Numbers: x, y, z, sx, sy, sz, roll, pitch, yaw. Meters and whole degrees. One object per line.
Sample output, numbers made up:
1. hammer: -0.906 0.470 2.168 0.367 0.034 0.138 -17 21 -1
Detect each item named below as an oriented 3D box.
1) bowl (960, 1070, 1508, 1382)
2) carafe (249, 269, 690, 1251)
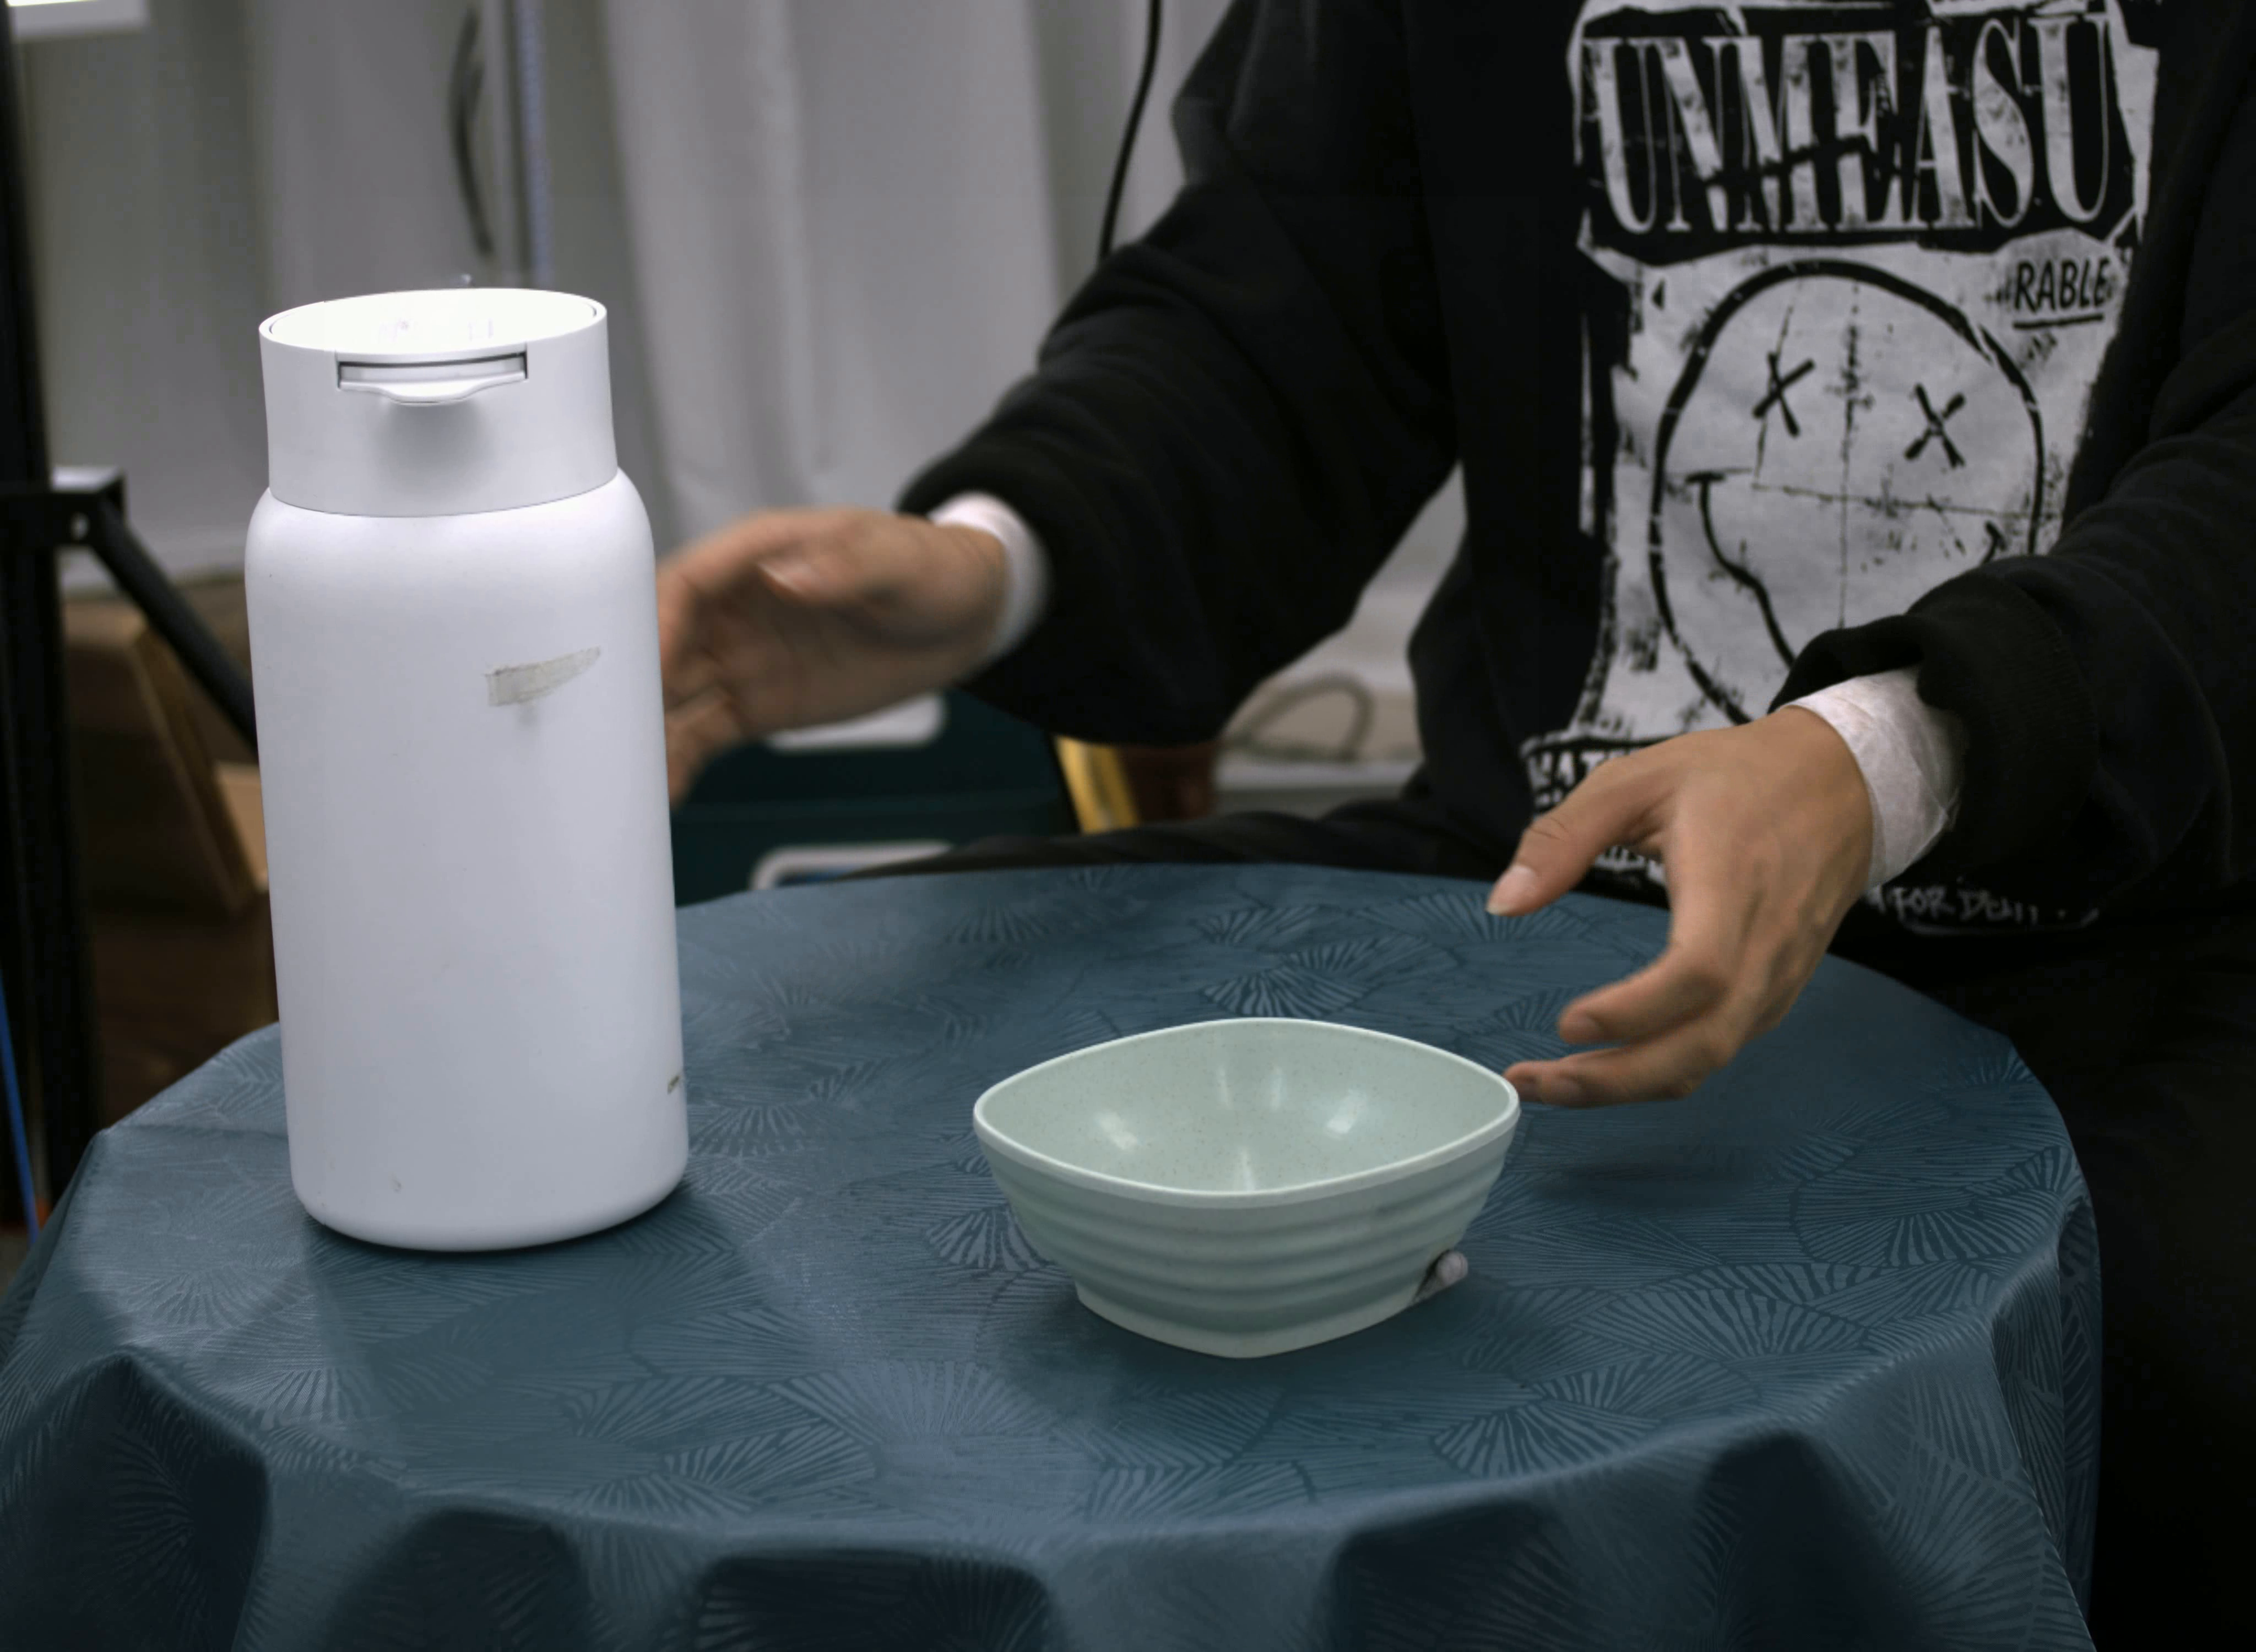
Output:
1. bowl: 0.029 0.112 1.462 0.150 0.059 0.152 1 10 -2
2. carafe: -0.194 -0.023 1.564 0.123 0.269 0.174 -5 15 -5
